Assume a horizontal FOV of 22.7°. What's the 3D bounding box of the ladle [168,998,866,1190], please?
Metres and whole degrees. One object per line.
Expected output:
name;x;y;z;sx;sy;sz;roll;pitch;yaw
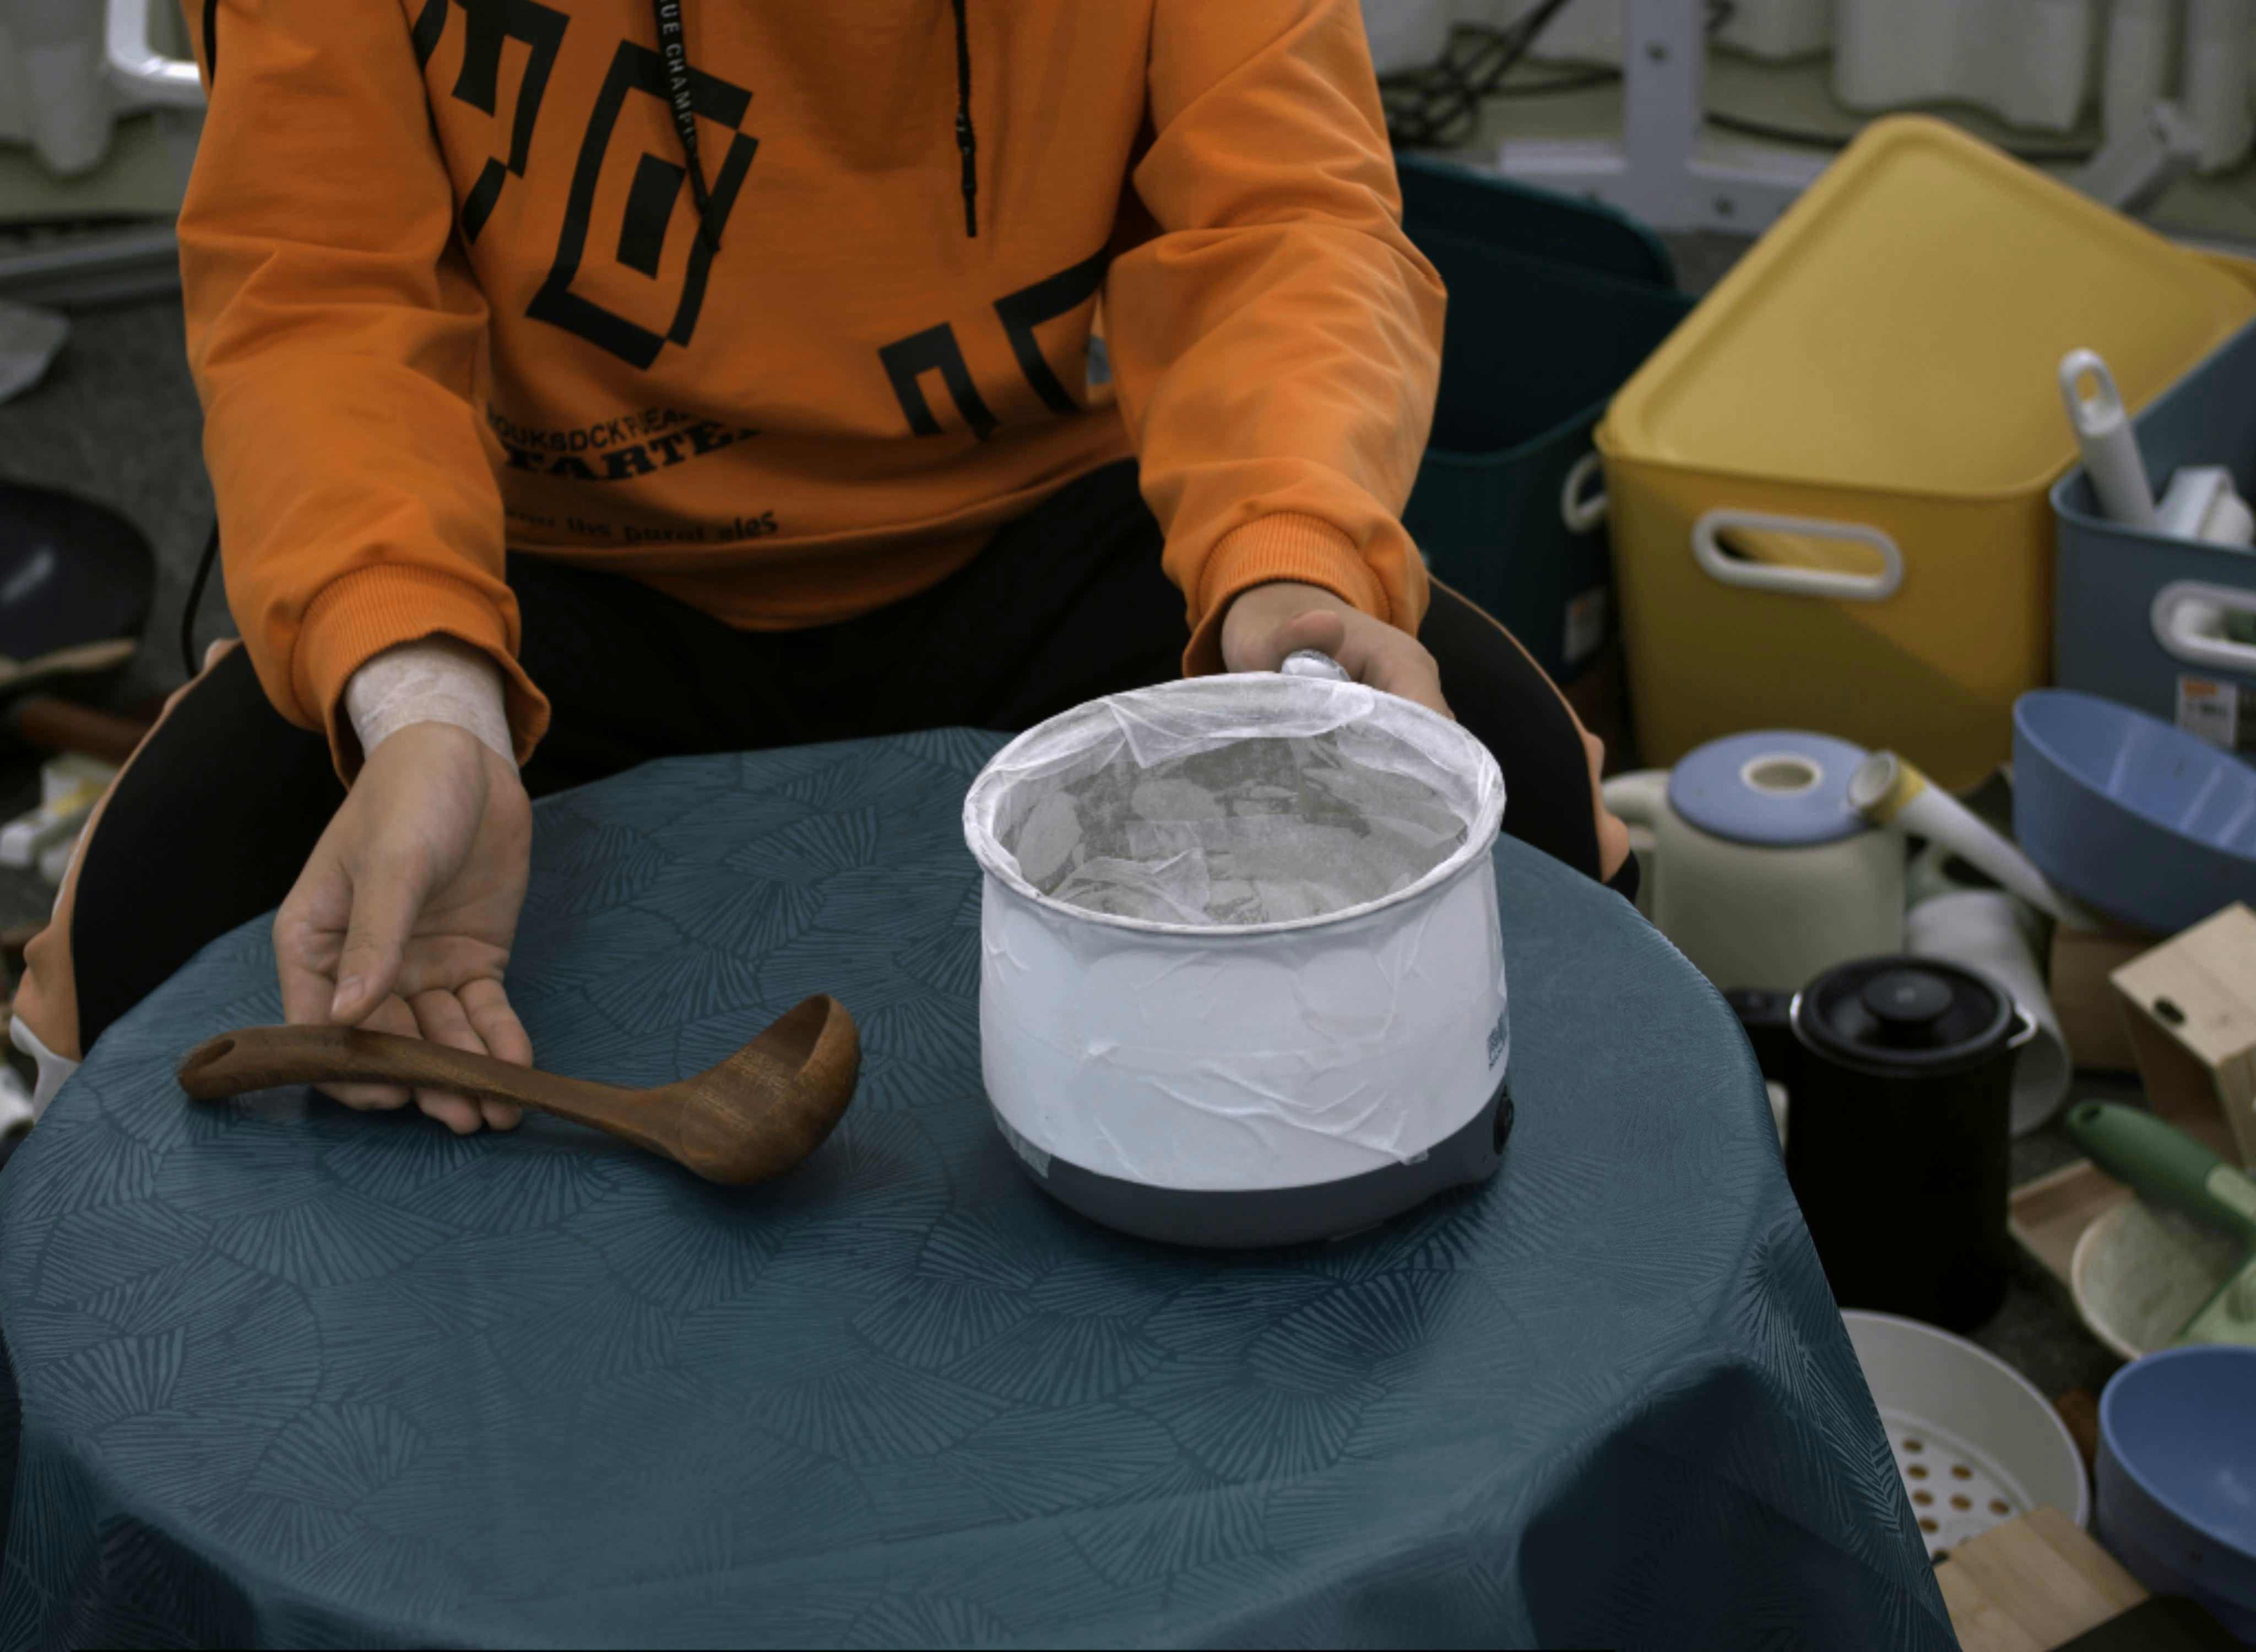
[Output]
ladle;-0.210;0.080;1.896;0.258;0.064;0.078;7;35;17

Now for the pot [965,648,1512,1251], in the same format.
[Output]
pot;0.045;0.034;1.880;0.177;0.135;0.238;4;28;13
